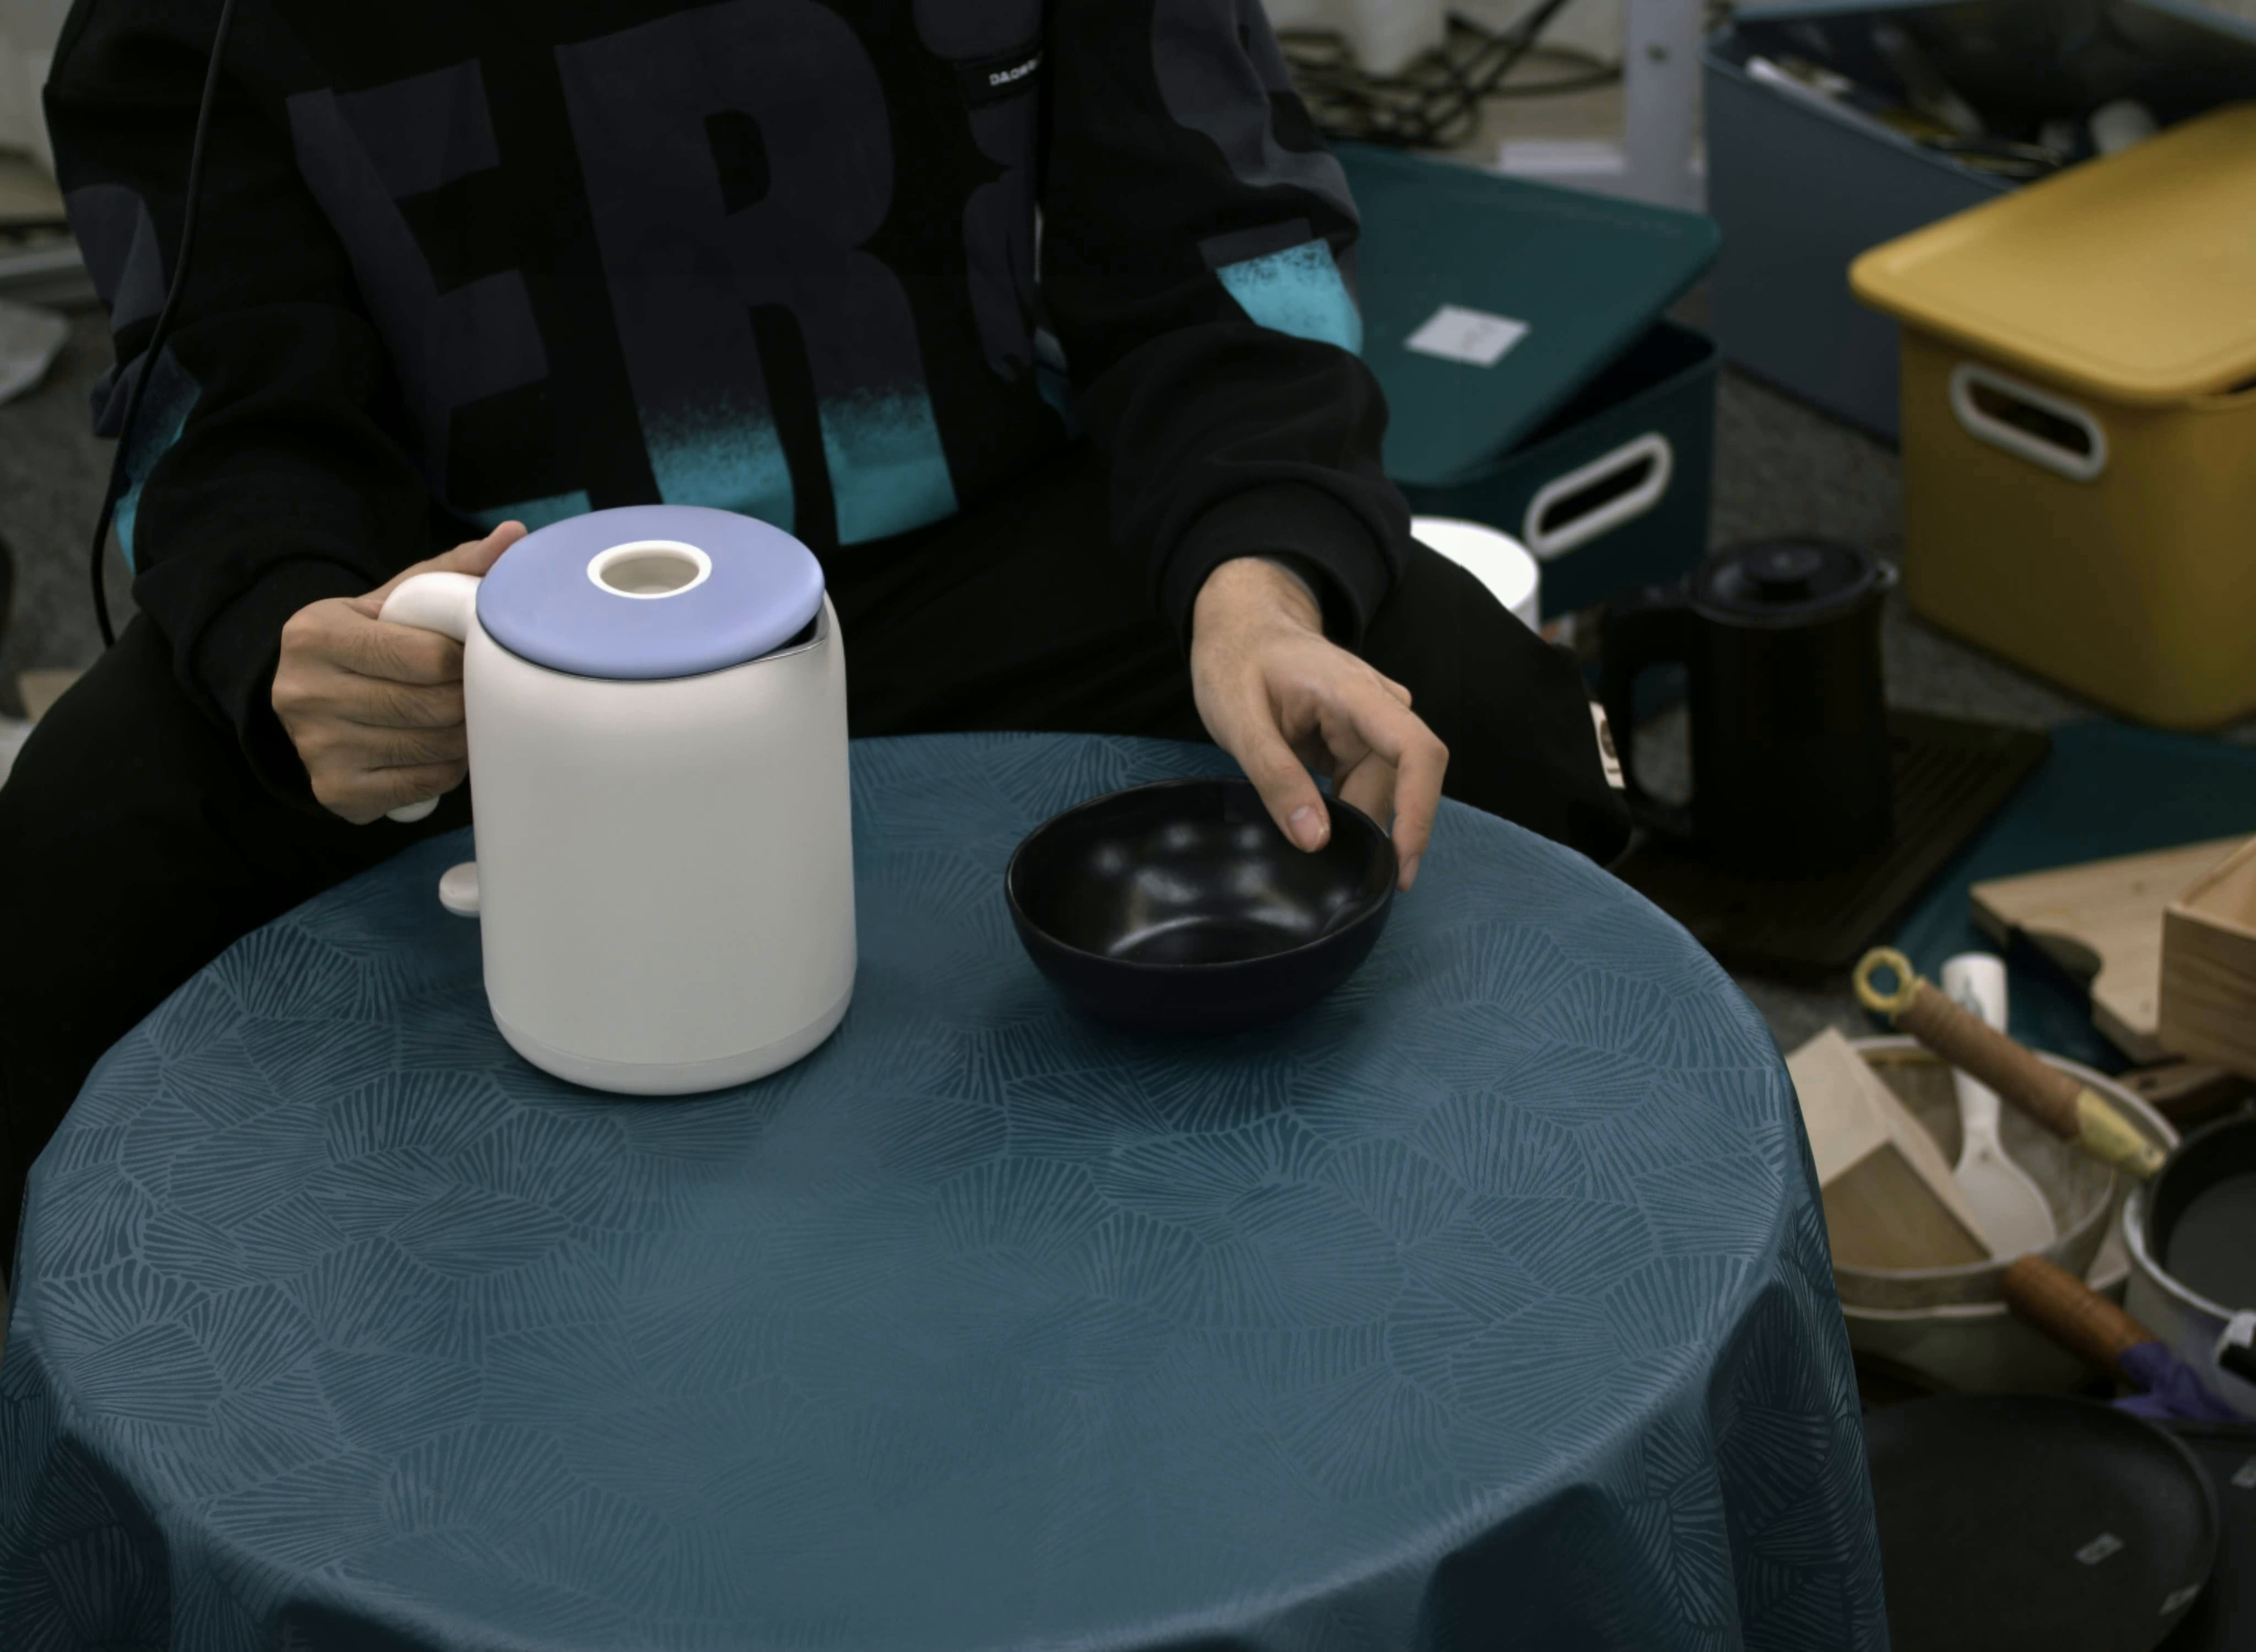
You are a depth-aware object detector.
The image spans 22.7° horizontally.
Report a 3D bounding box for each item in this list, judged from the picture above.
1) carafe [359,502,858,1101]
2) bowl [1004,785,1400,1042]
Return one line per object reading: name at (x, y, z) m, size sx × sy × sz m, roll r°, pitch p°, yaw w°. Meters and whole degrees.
carafe at (-0.183, -0.013, 1.947) m, size 0.190 × 0.180 × 0.134 m, roll 10°, pitch 29°, yaw 23°
bowl at (0.027, 0.038, 1.968) m, size 0.139 × 0.049 × 0.142 m, roll -3°, pitch 26°, yaw 2°
